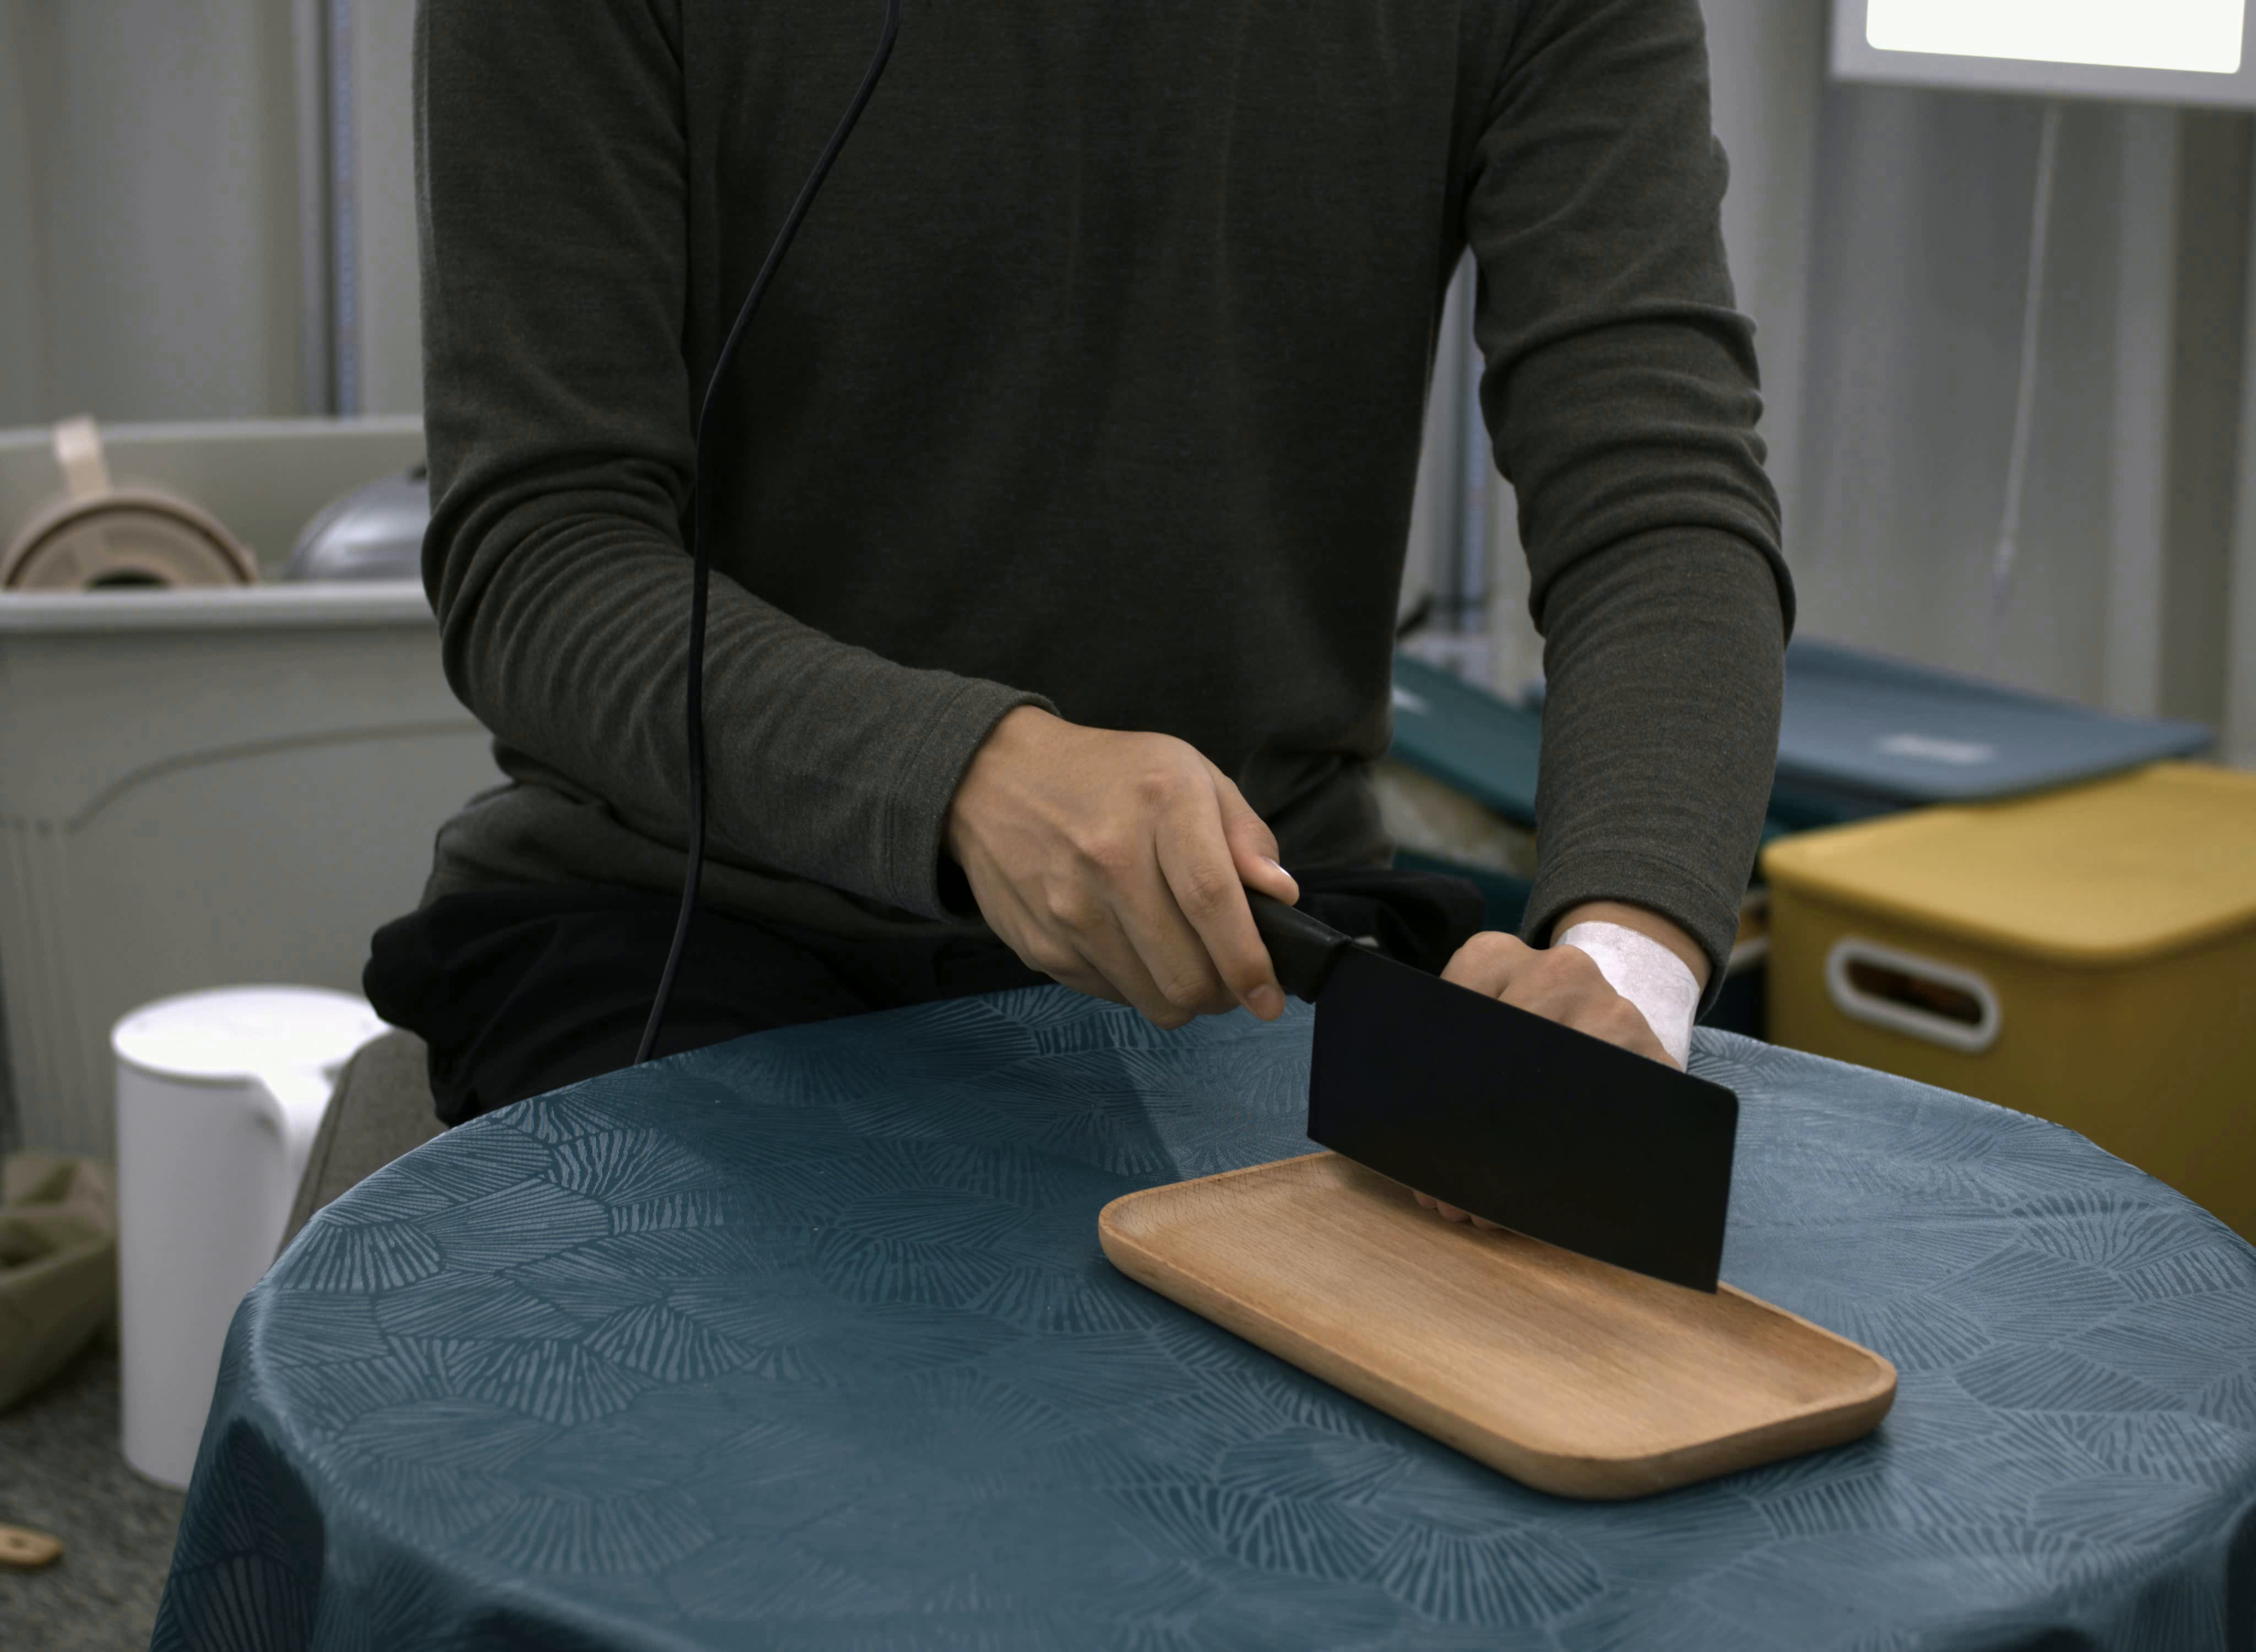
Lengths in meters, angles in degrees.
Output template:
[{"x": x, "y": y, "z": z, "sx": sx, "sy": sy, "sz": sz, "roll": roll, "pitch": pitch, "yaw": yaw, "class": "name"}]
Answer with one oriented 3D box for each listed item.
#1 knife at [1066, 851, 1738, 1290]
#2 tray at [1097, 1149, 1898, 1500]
[{"x": 0.077, "y": 0.066, "z": 1.575, "sx": 0.021, "sy": 0.081, "sz": 0.298, "roll": -6, "pitch": 22, "yaw": -38, "class": "knife"}, {"x": 0.101, "y": 0.139, "z": 1.504, "sx": 0.131, "sy": 0.023, "sz": 0.247, "roll": -6, "pitch": 15, "yaw": -32, "class": "tray"}]
